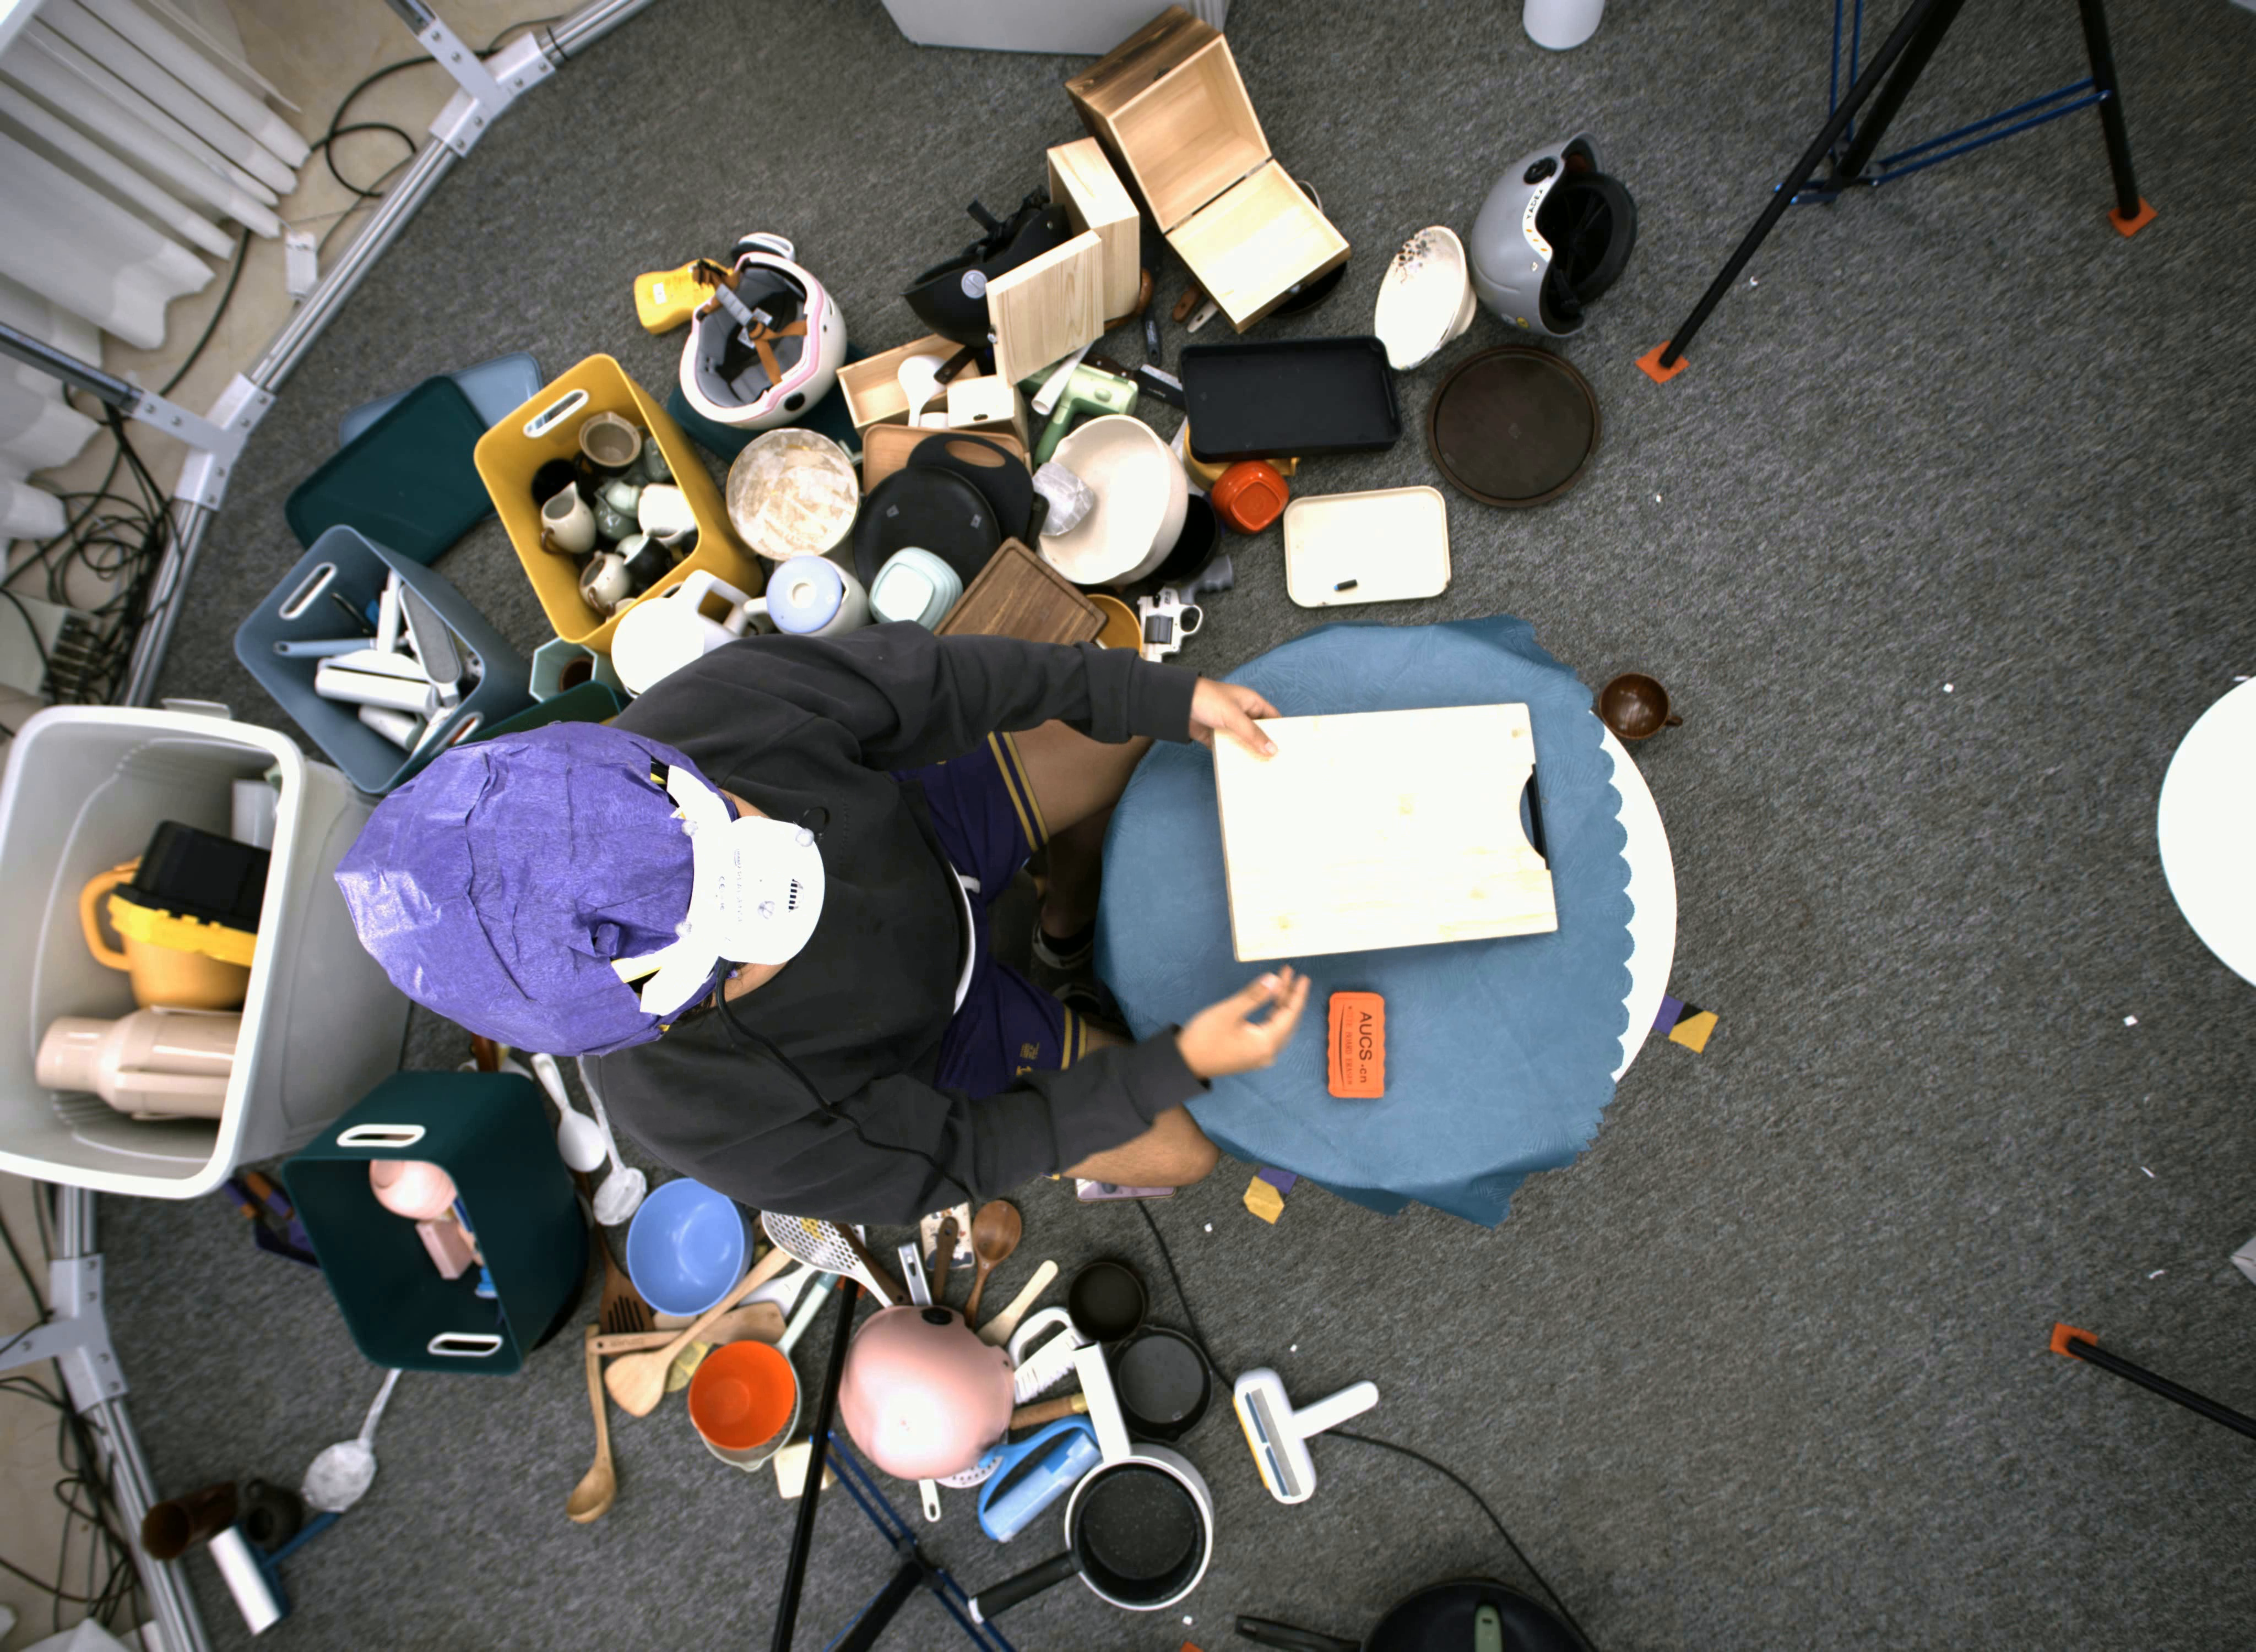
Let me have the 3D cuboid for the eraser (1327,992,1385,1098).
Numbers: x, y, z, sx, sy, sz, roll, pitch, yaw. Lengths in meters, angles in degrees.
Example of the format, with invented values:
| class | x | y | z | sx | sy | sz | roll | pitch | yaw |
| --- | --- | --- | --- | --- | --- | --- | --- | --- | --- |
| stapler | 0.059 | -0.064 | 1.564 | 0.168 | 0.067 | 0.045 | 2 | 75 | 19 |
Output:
| class | x | y | z | sx | sy | sz | roll | pitch | yaw |
| --- | --- | --- | --- | --- | --- | --- | --- | --- | --- |
| eraser | 0.238 | 0.226 | 1.444 | 0.059 | 0.023 | 0.107 | 1 | 87 | 10 |

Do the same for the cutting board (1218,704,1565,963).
| class | x | y | z | sx | sy | sz | roll | pitch | yaw |
| --- | --- | --- | --- | --- | --- | --- | --- | --- | --- |
| cutting board | 0.266 | 0.003 | 1.400 | 0.348 | 0.024 | 0.249 | -6 | 86 | -10 |
